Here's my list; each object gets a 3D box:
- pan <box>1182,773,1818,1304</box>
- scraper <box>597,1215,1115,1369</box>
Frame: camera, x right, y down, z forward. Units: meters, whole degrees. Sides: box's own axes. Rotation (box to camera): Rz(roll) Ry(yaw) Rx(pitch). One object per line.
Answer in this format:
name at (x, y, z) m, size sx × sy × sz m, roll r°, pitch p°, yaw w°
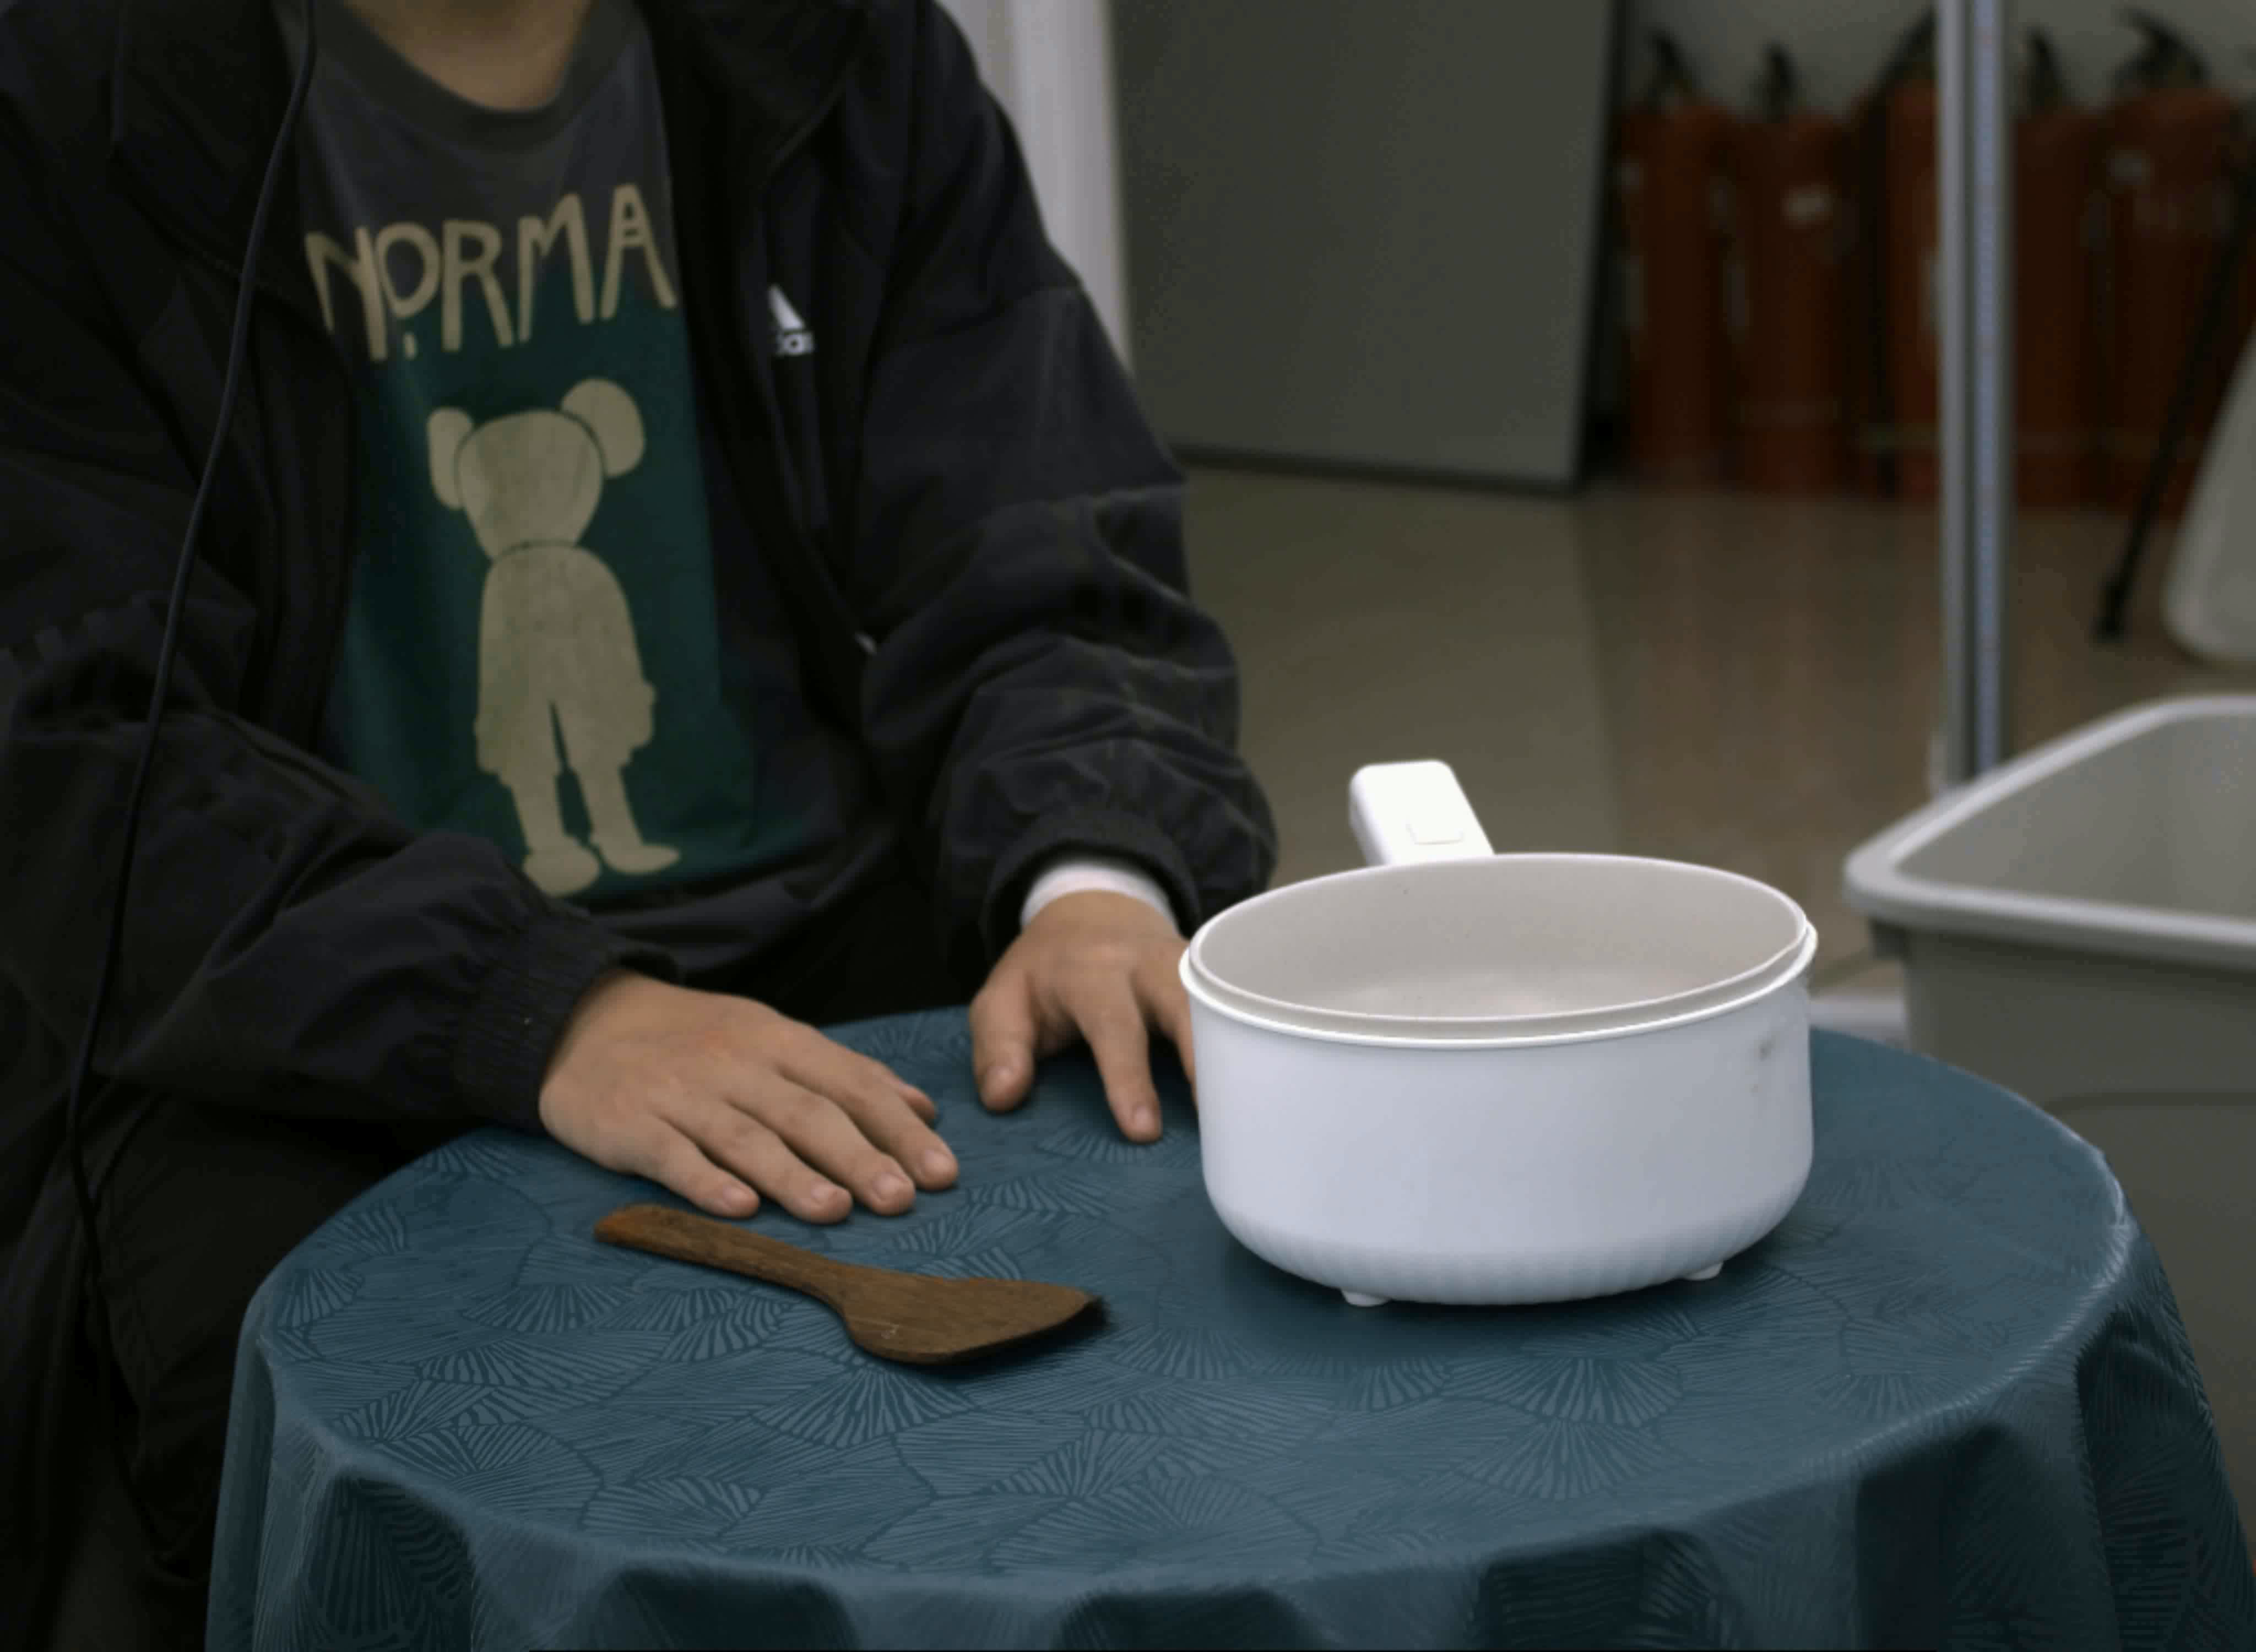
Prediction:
pan at (0.114, 0.065, 1.765) m, size 0.198 × 0.103 × 0.355 m, roll -5°, pitch 12°, yaw -2°
scraper at (-0.095, 0.144, 1.696) m, size 0.074 × 0.011 × 0.213 m, roll -15°, pitch 16°, yaw -40°
